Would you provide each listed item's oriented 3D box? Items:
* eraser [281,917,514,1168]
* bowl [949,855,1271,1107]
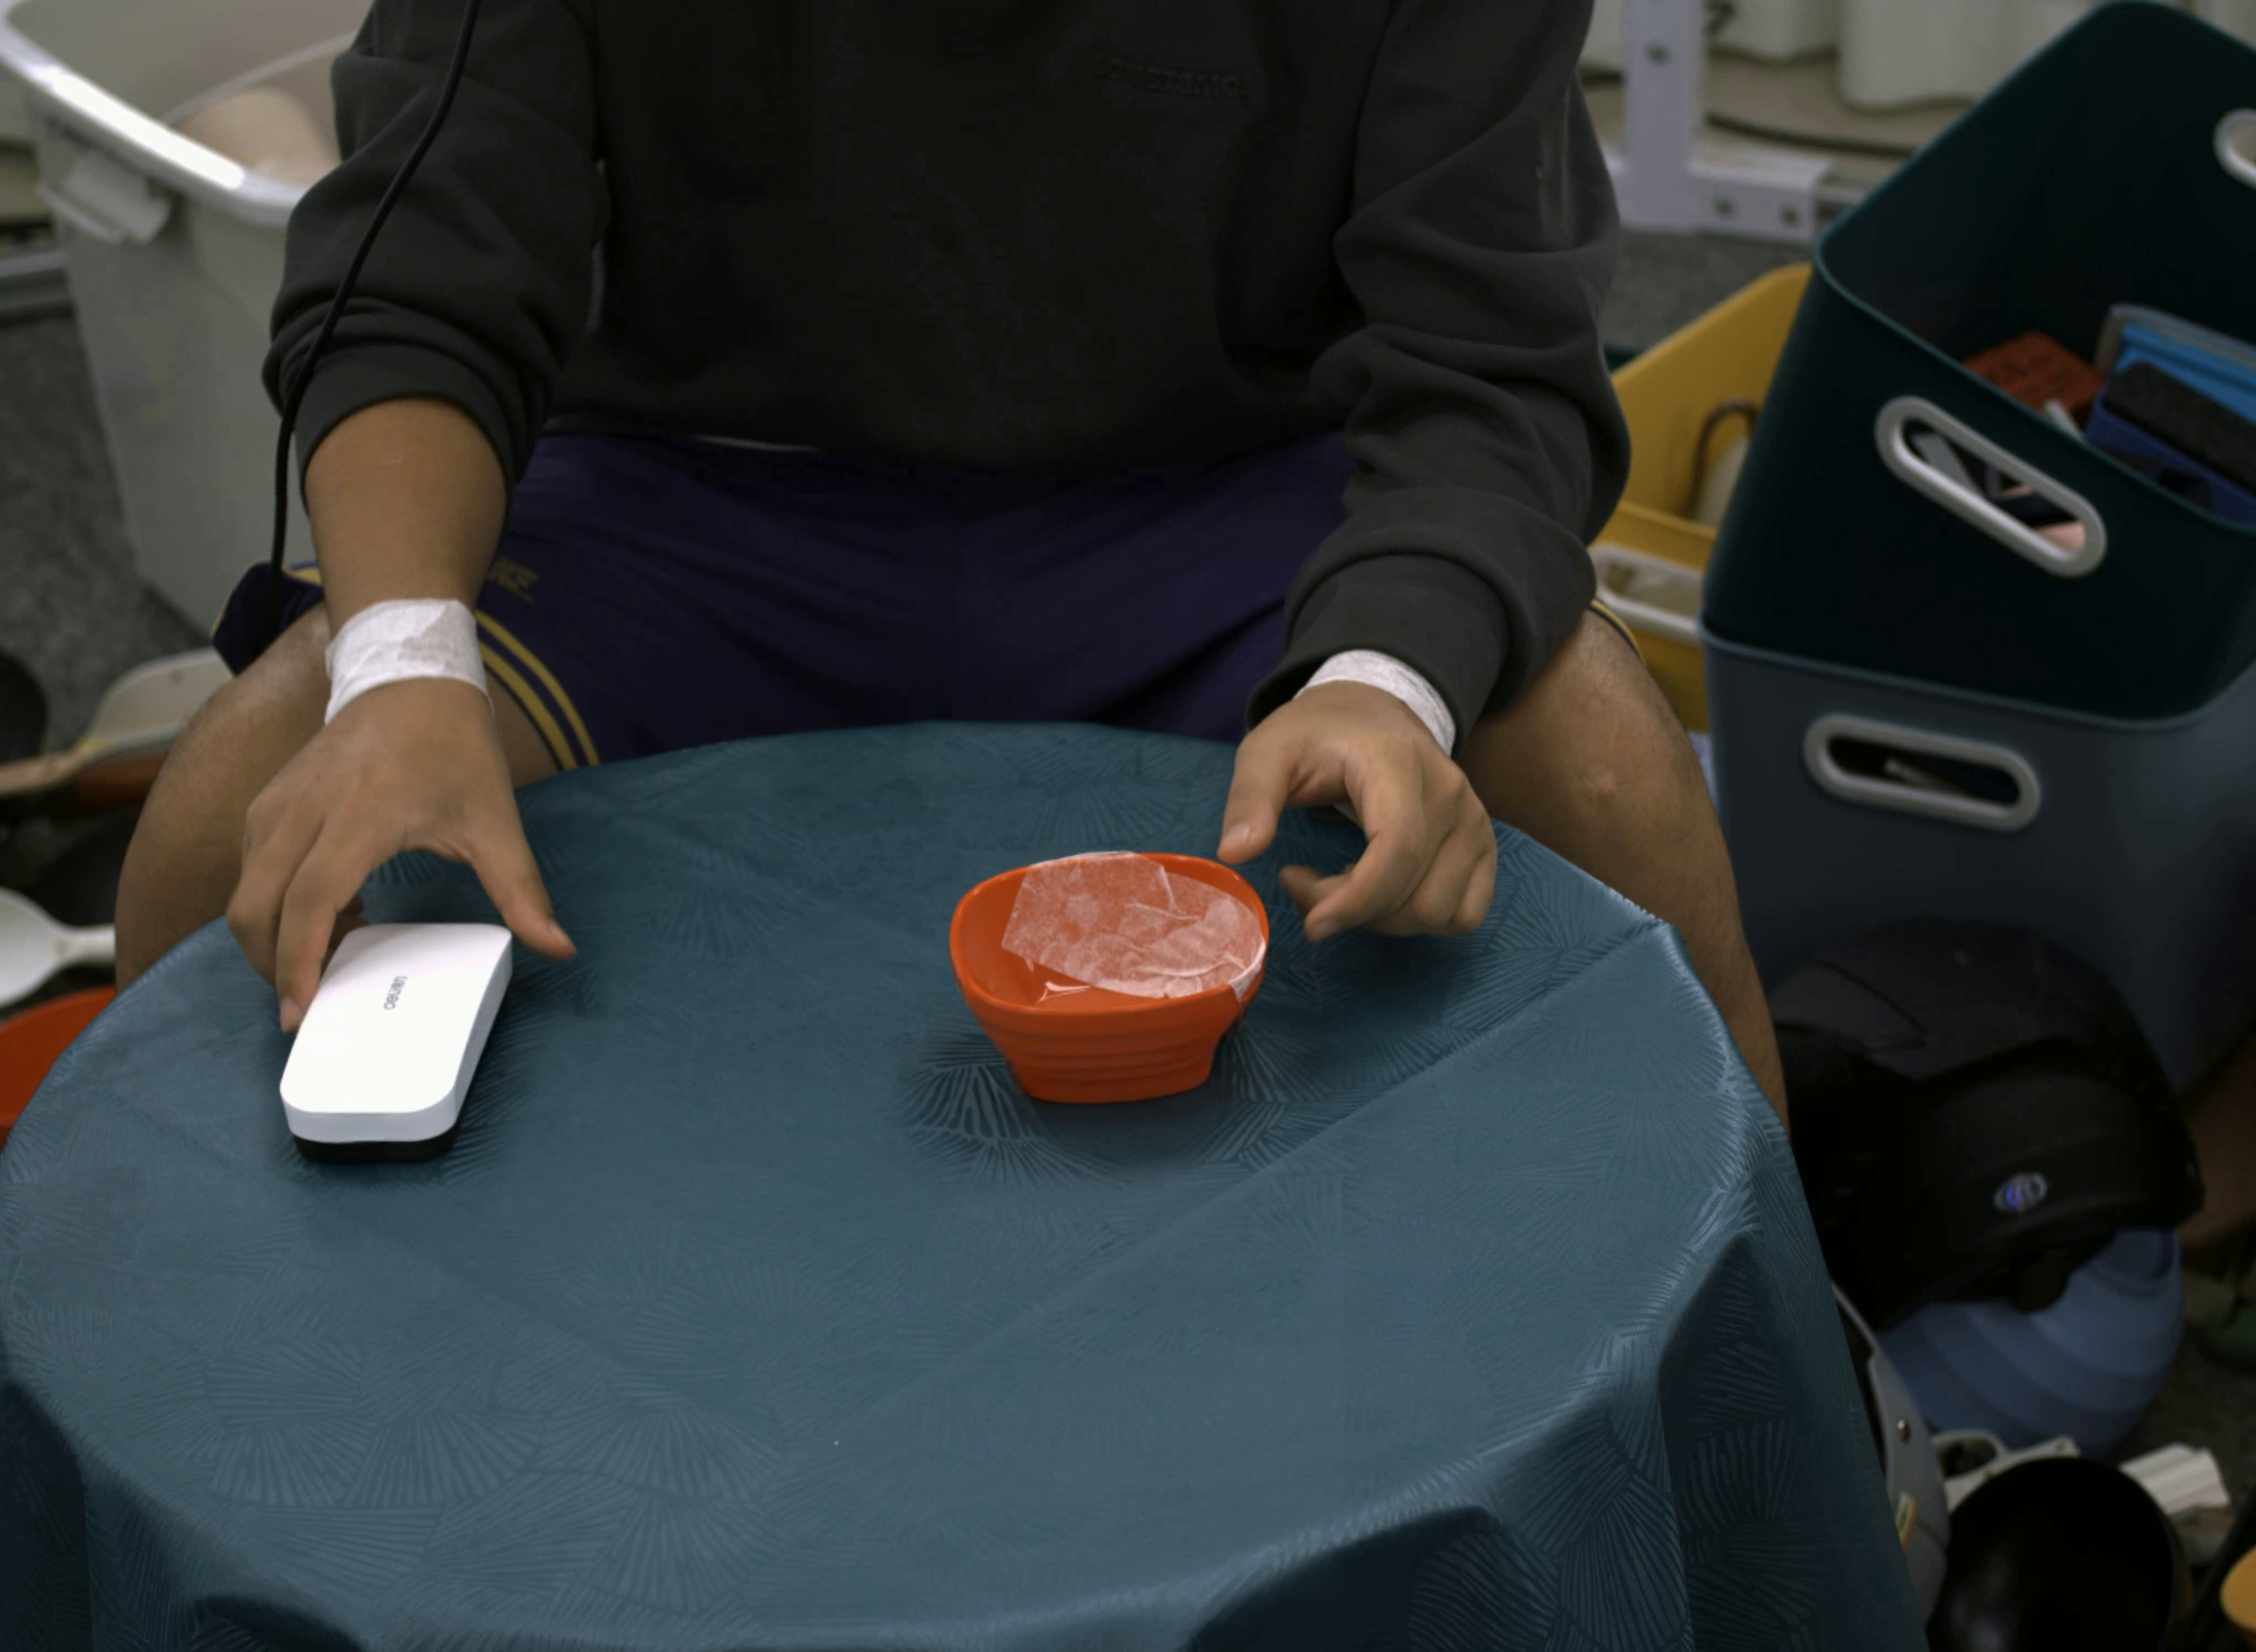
[{"bbox_3d":[-0.251,0.072,1.948,0.063,0.034,0.133,1,29,6],"label":"eraser"},{"bbox_3d":[-0.005,0.057,1.932,0.118,0.051,0.121,-3,27,2],"label":"bowl"}]
